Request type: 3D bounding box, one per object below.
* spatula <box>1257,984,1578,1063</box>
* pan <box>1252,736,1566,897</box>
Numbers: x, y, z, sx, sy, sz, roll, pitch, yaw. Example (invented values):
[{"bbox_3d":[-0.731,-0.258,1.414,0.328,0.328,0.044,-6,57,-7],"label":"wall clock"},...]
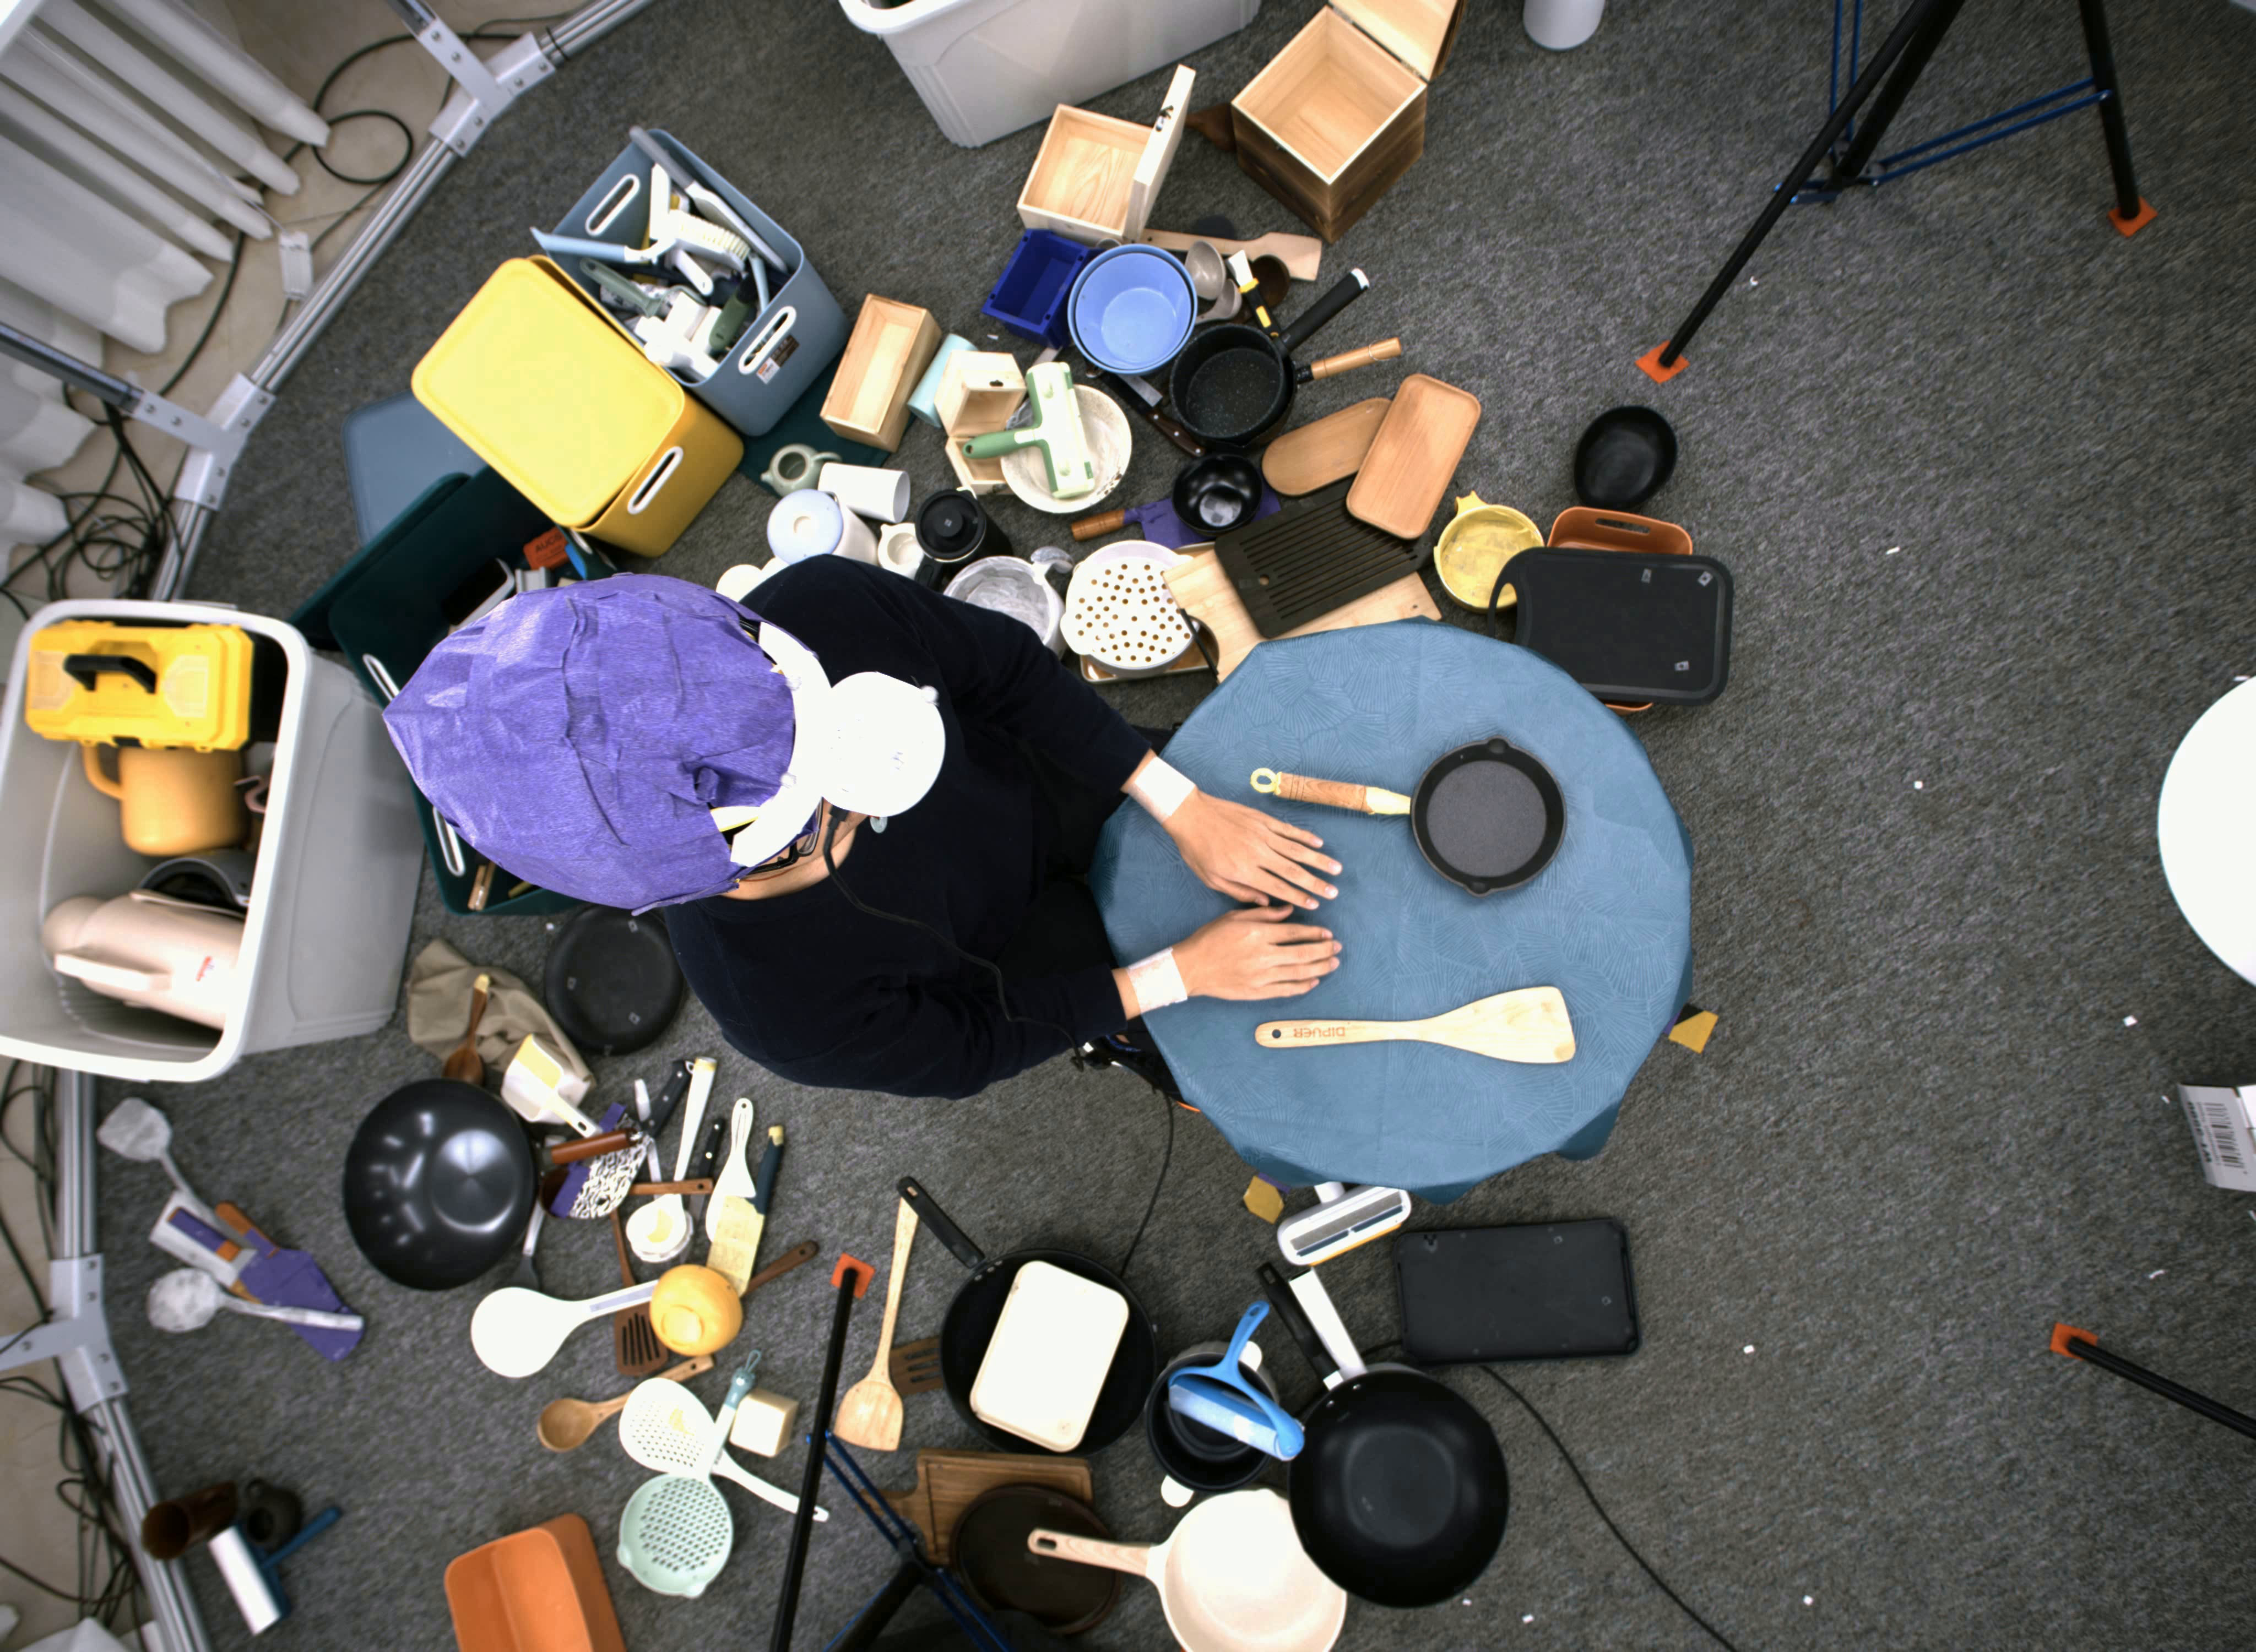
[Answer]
[{"bbox_3d":[0.297,0.209,1.439,0.329,0.016,0.079,-4,85,10],"label":"spatula"},{"bbox_3d":[0.290,-0.026,1.436,0.325,0.049,0.168,10,89,9],"label":"pan"}]
